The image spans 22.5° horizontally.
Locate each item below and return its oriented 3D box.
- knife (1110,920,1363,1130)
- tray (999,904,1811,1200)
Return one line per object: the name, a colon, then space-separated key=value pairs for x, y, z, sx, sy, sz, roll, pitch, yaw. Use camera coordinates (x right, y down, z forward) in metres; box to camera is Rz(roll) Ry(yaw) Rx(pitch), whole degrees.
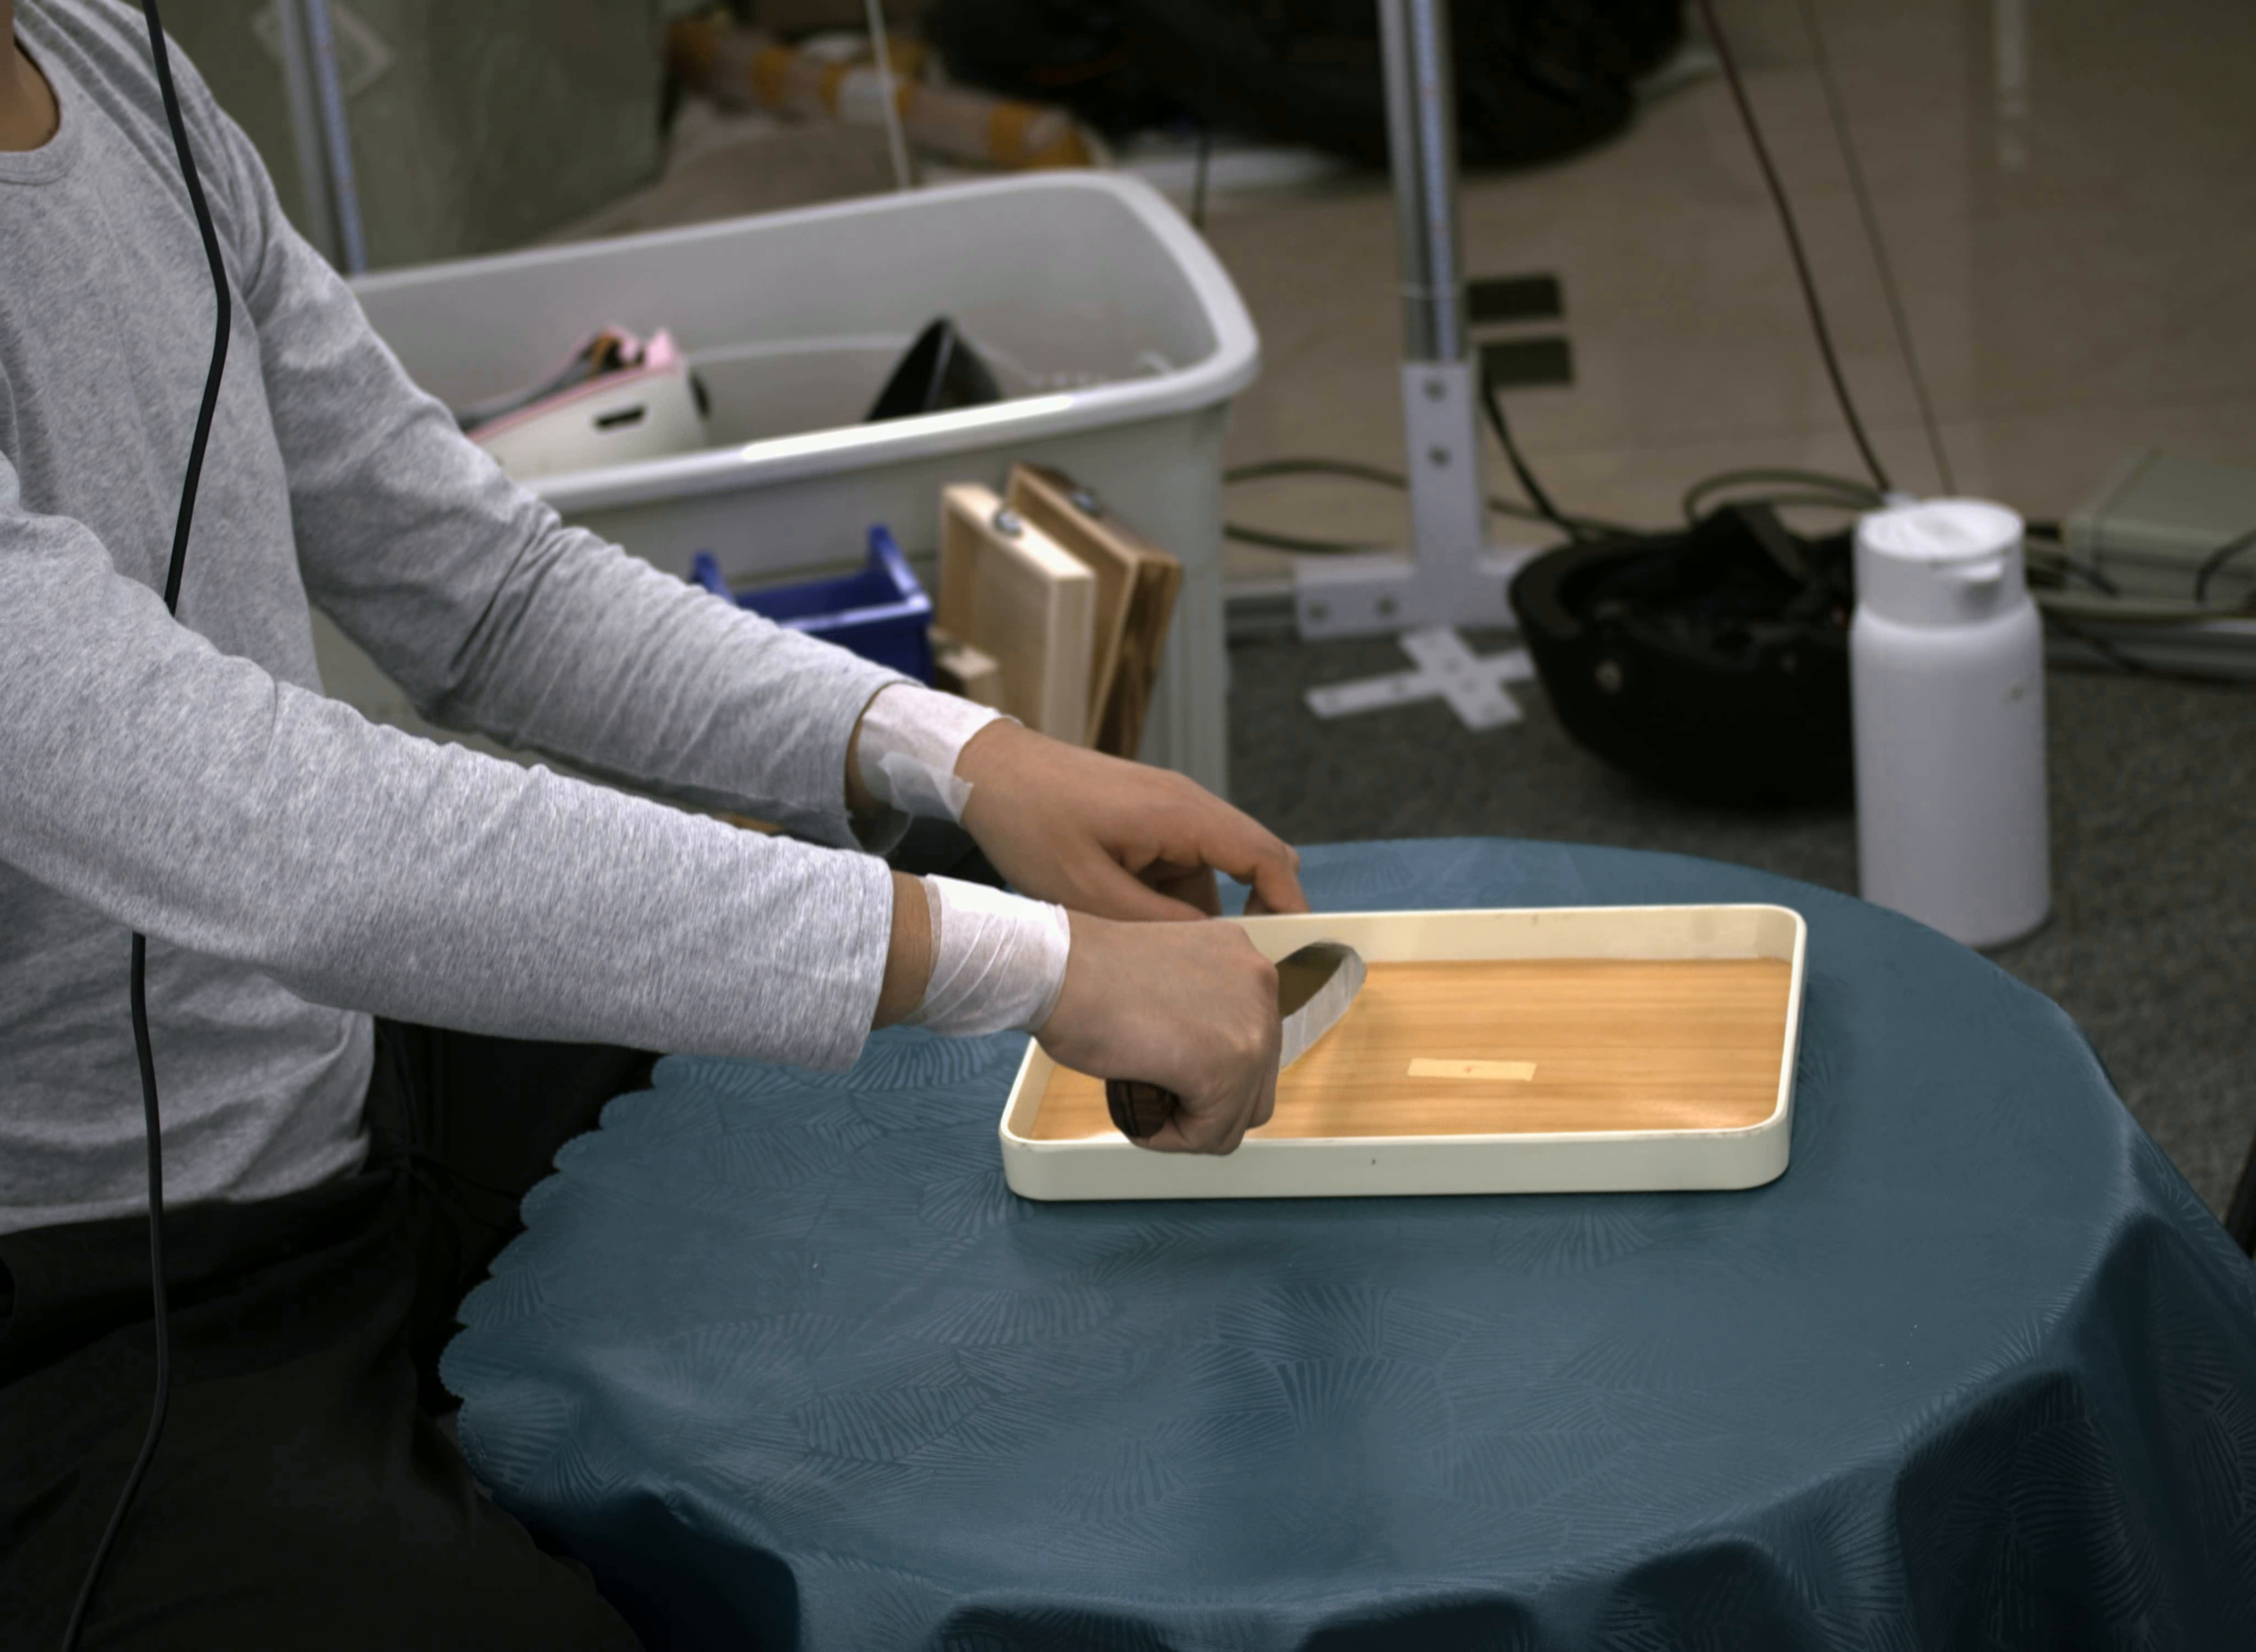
knife: x=0.047 y=0.075 z=2.133 sx=0.020 sy=0.050 sz=0.287 roll=6 pitch=10 yaw=18
tray: x=0.111 y=0.087 z=2.202 sx=0.300 sy=0.028 sz=0.189 roll=-2 pitch=26 yaw=11
